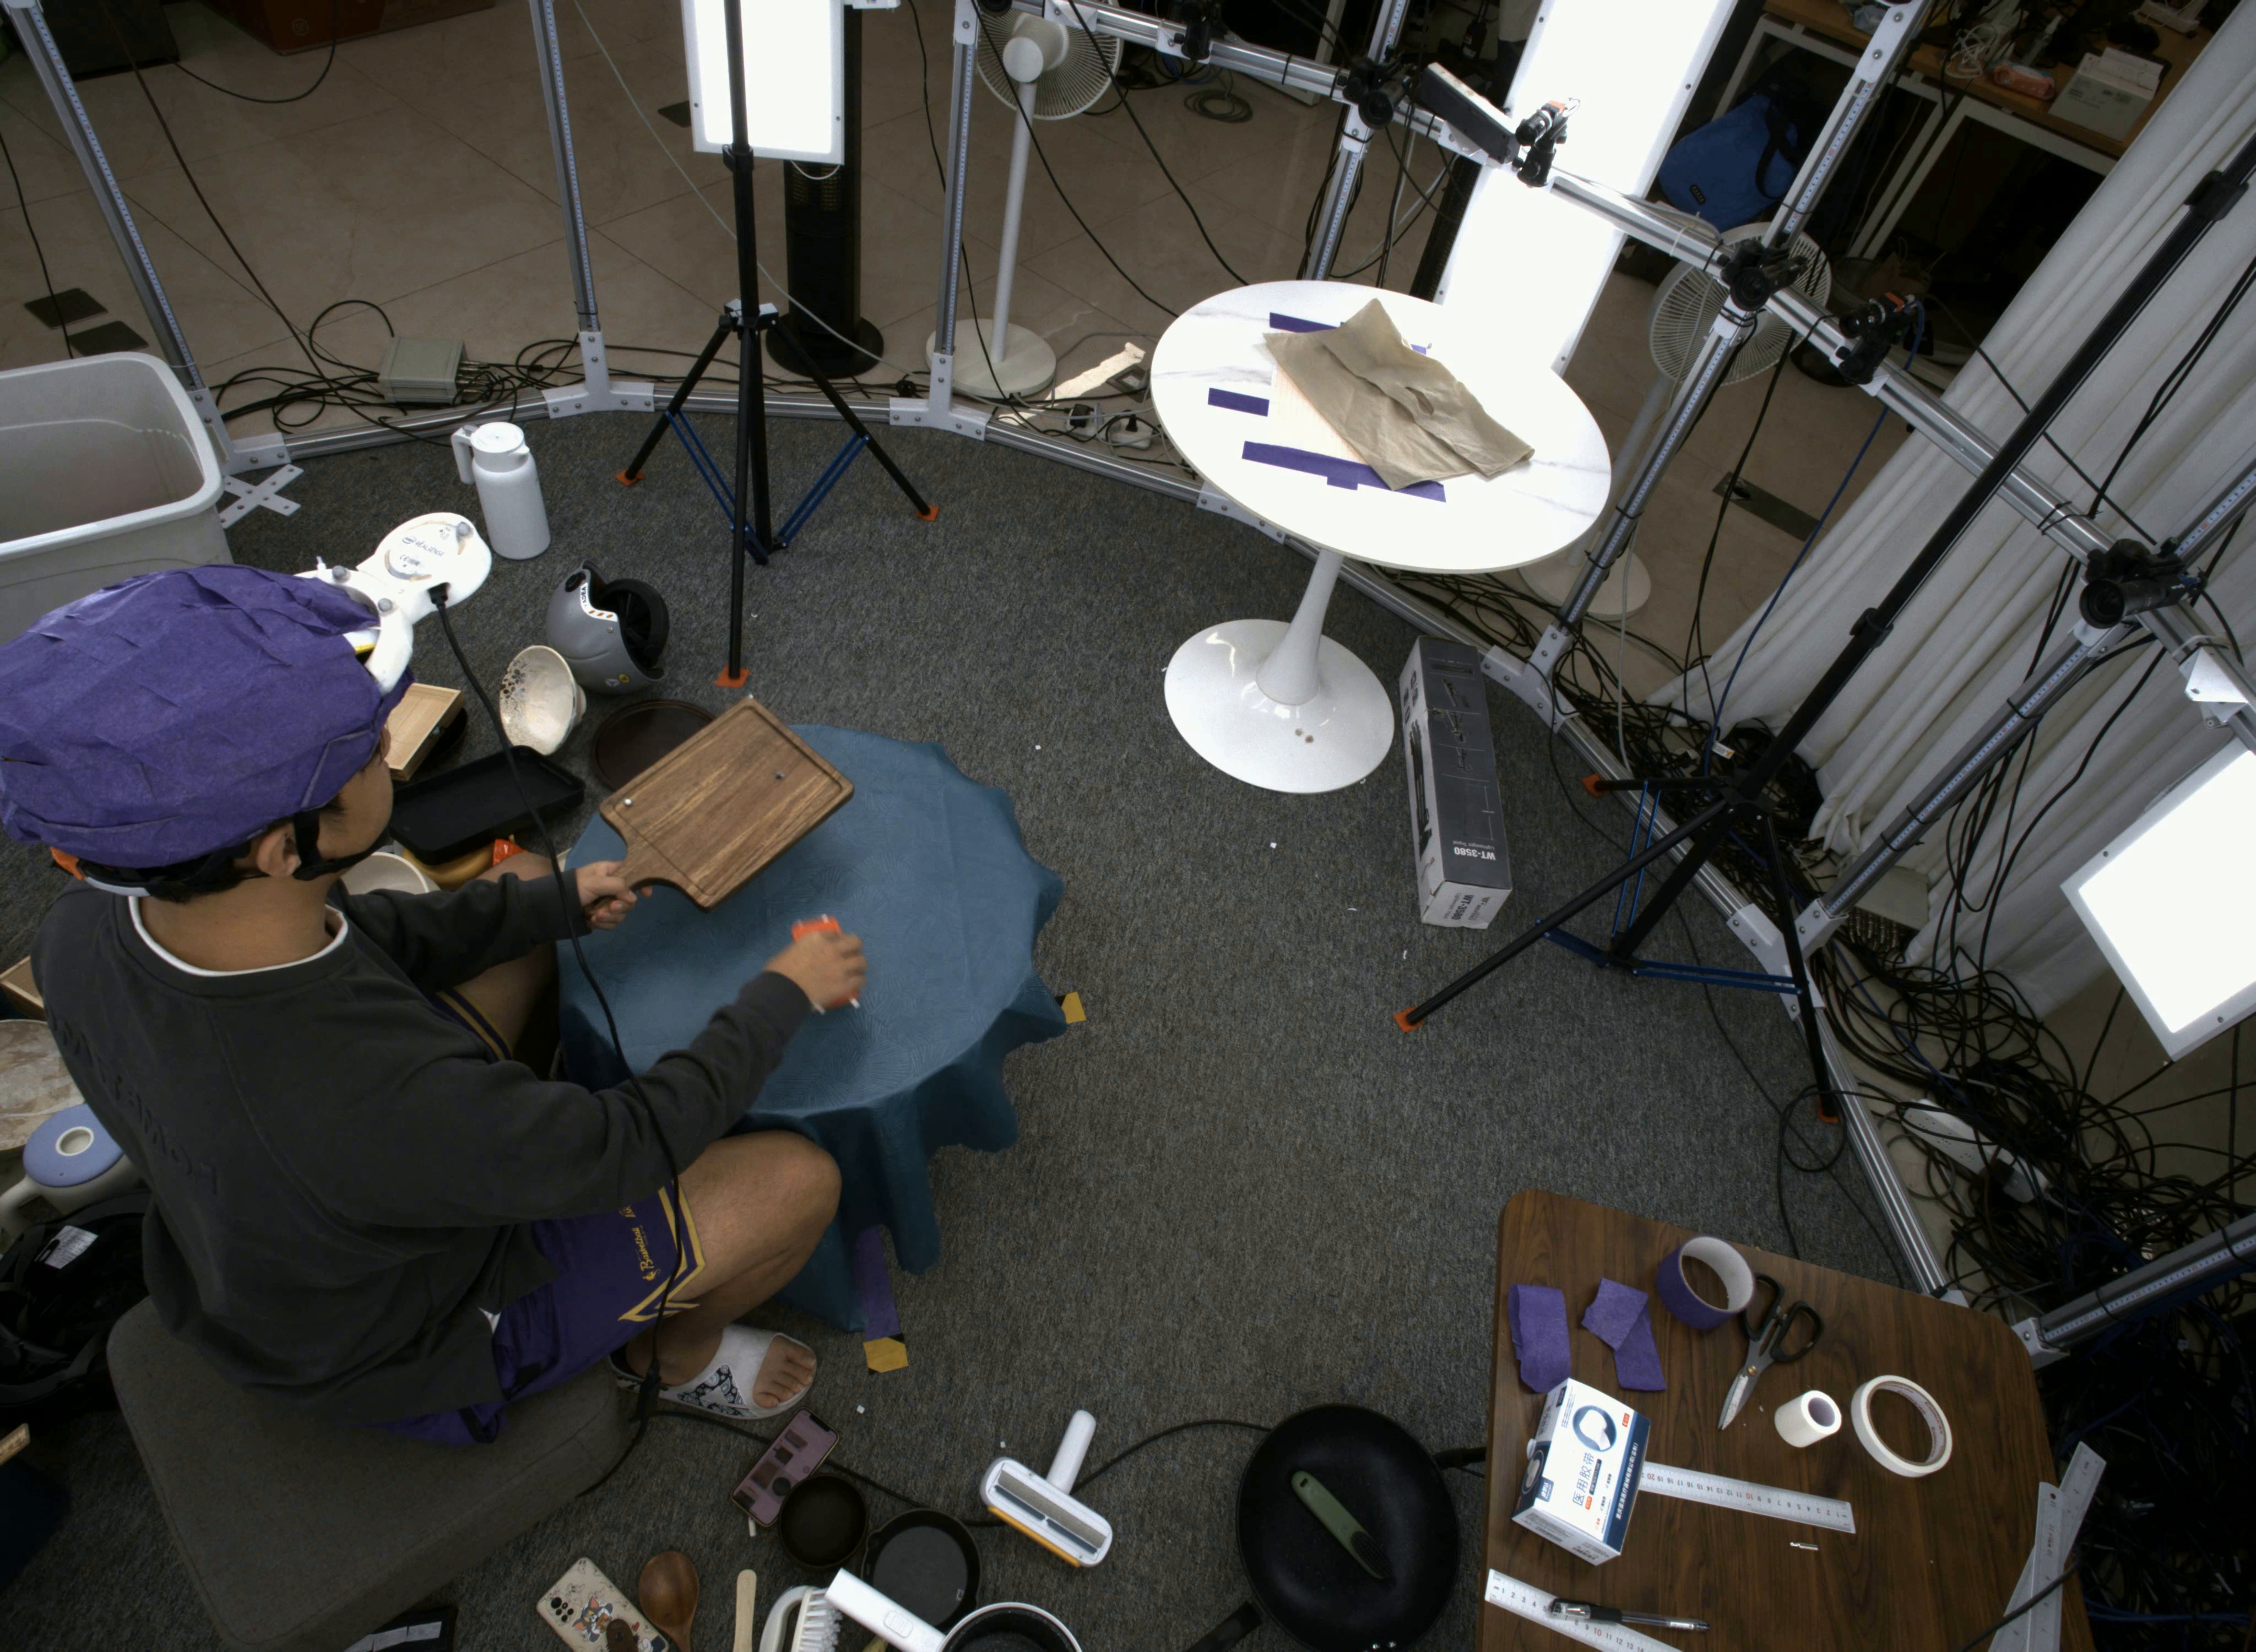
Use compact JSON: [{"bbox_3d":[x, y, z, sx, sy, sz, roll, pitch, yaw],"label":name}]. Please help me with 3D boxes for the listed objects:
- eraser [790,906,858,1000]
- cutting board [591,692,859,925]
[{"bbox_3d":[-0.362,0.148,1.542,0.059,0.023,0.106,-11,67,-27],"label":"eraser"},{"bbox_3d":[-0.518,-0.006,1.572,0.199,0.023,0.352,40,59,7],"label":"cutting board"}]
